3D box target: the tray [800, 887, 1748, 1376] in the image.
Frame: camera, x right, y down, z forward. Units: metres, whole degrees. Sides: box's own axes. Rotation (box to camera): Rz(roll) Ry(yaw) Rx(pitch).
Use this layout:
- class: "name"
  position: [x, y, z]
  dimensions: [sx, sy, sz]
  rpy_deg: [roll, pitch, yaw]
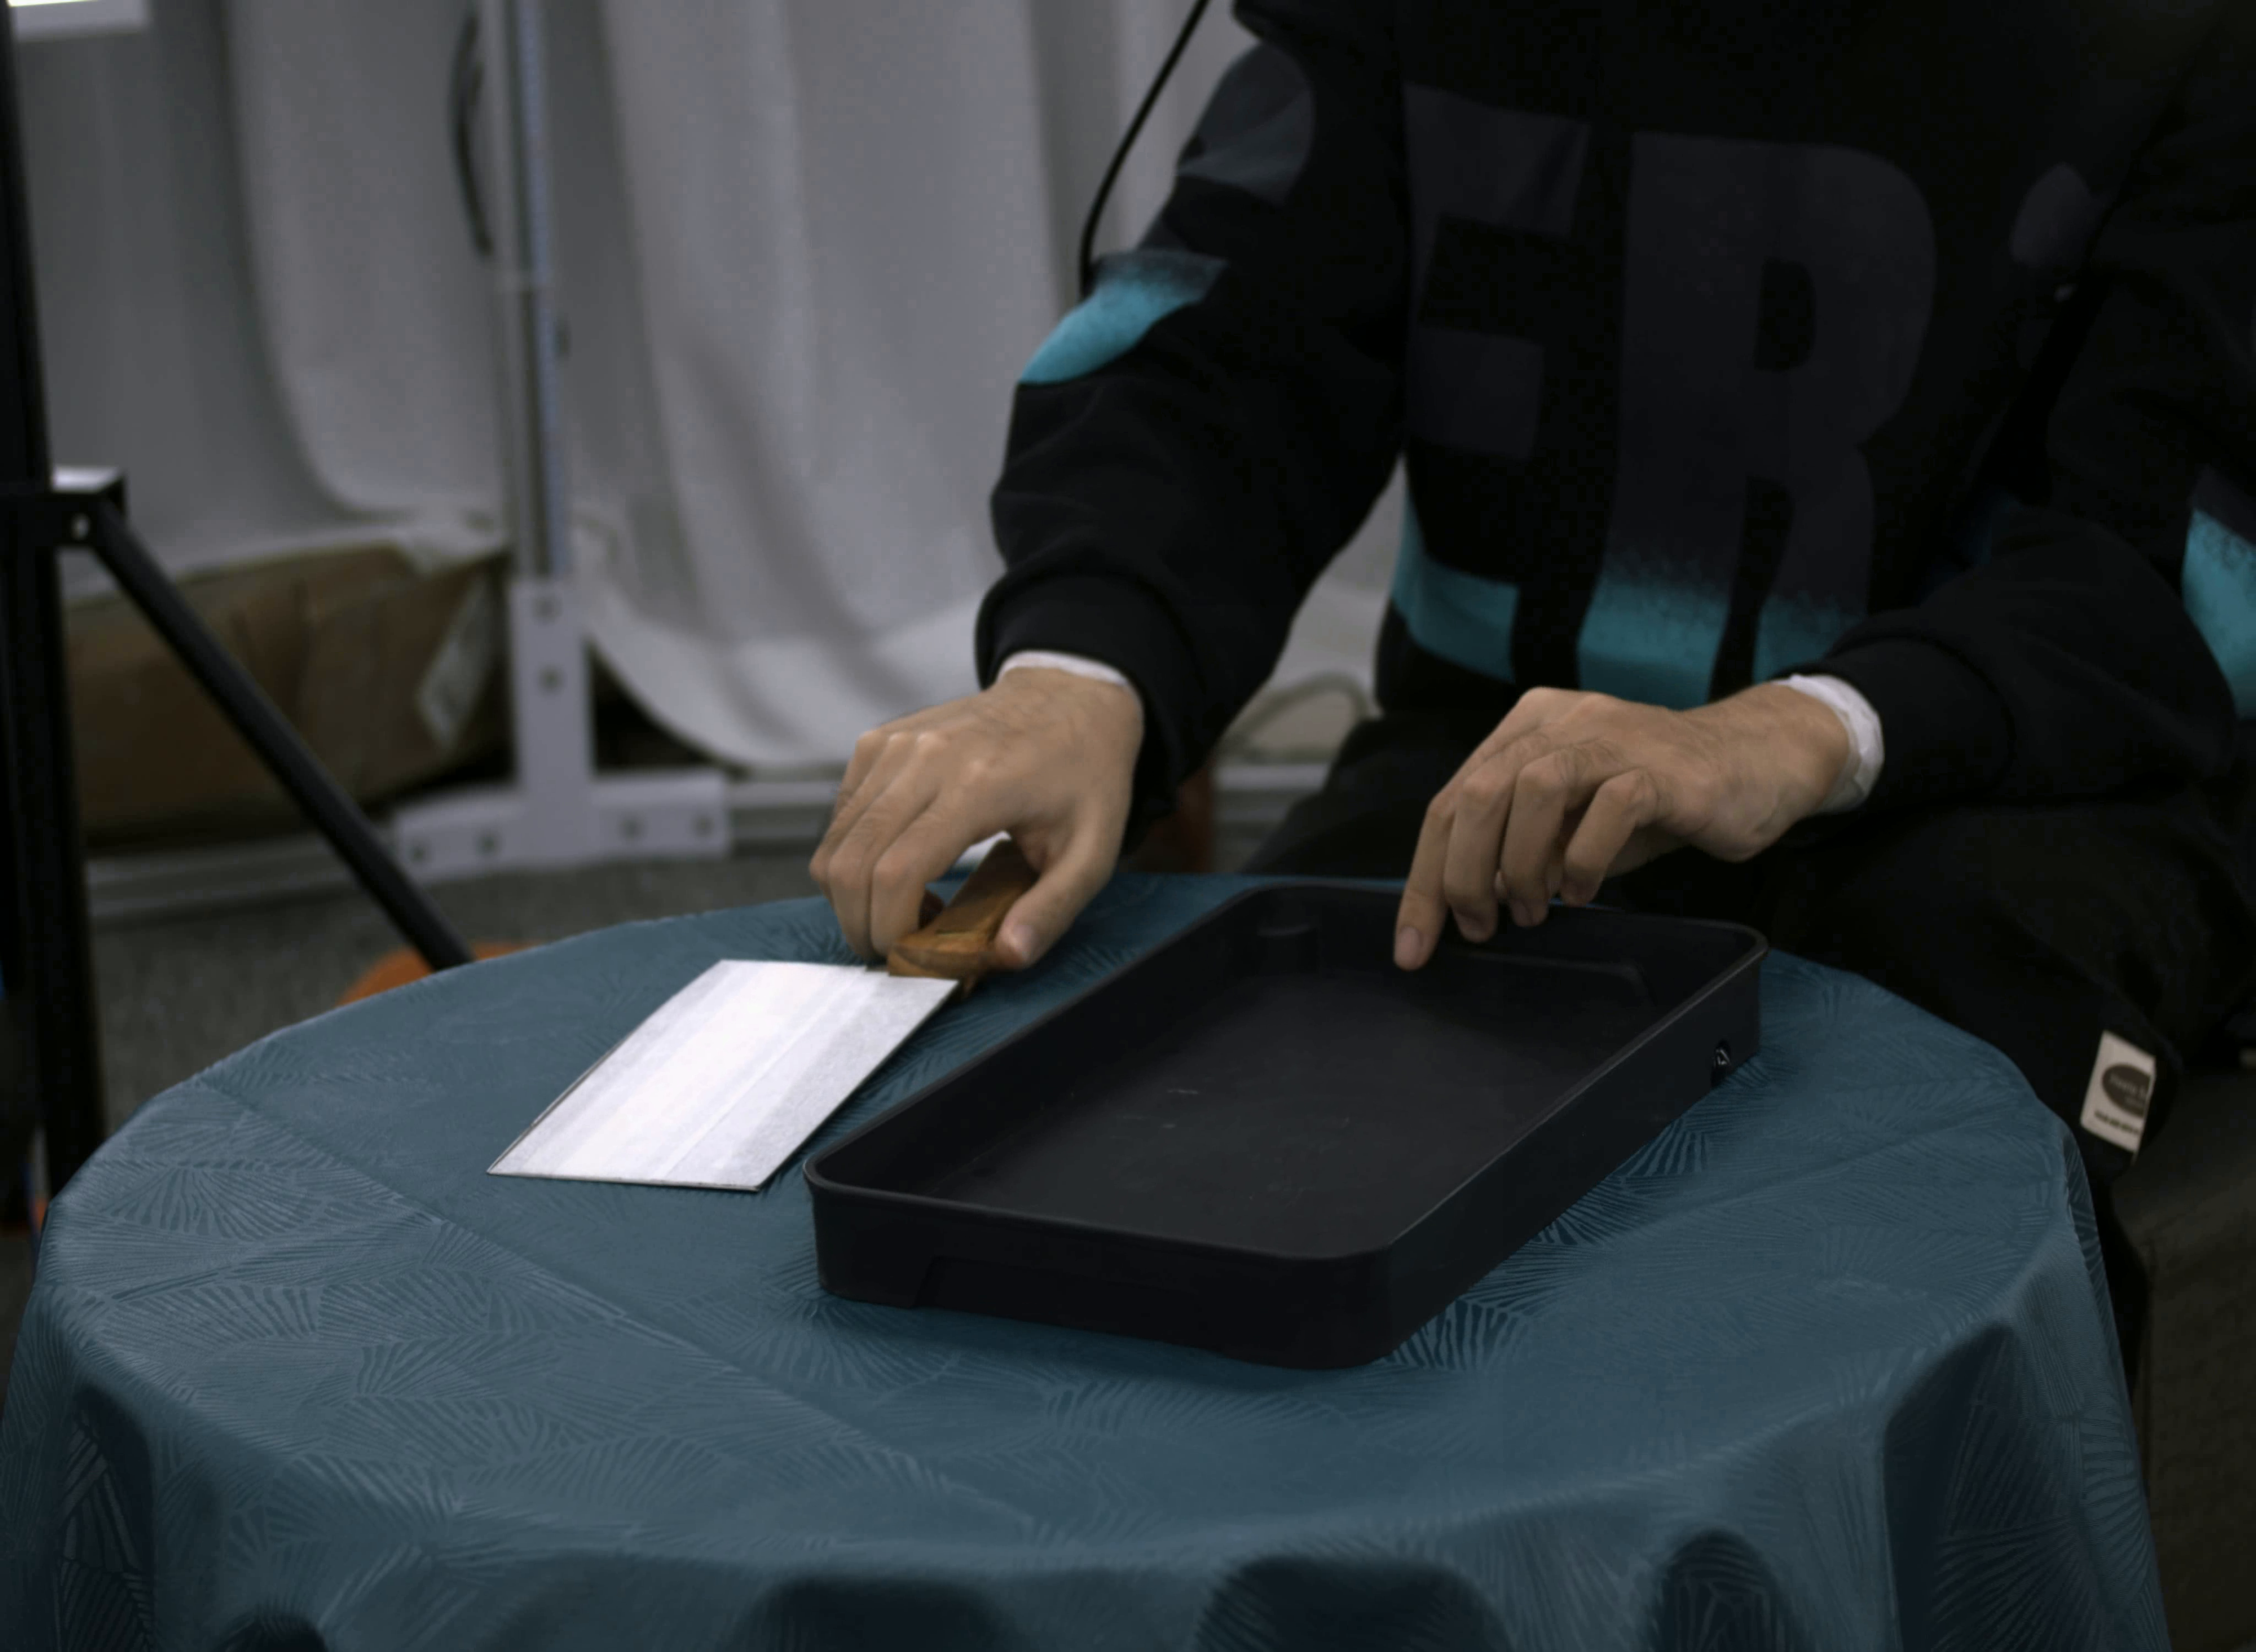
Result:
- class: "tray"
  position: [0.051, 0.083, 1.569]
  dimensions: [0.187, 0.037, 0.313]
  rpy_deg: [5, 17, 26]

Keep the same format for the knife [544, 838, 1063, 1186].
- class: "knife"
  position: [-0.103, 0.059, 1.722]
  dimensions: [0.094, 0.021, 0.303]
  rpy_deg: [1, 19, 19]
